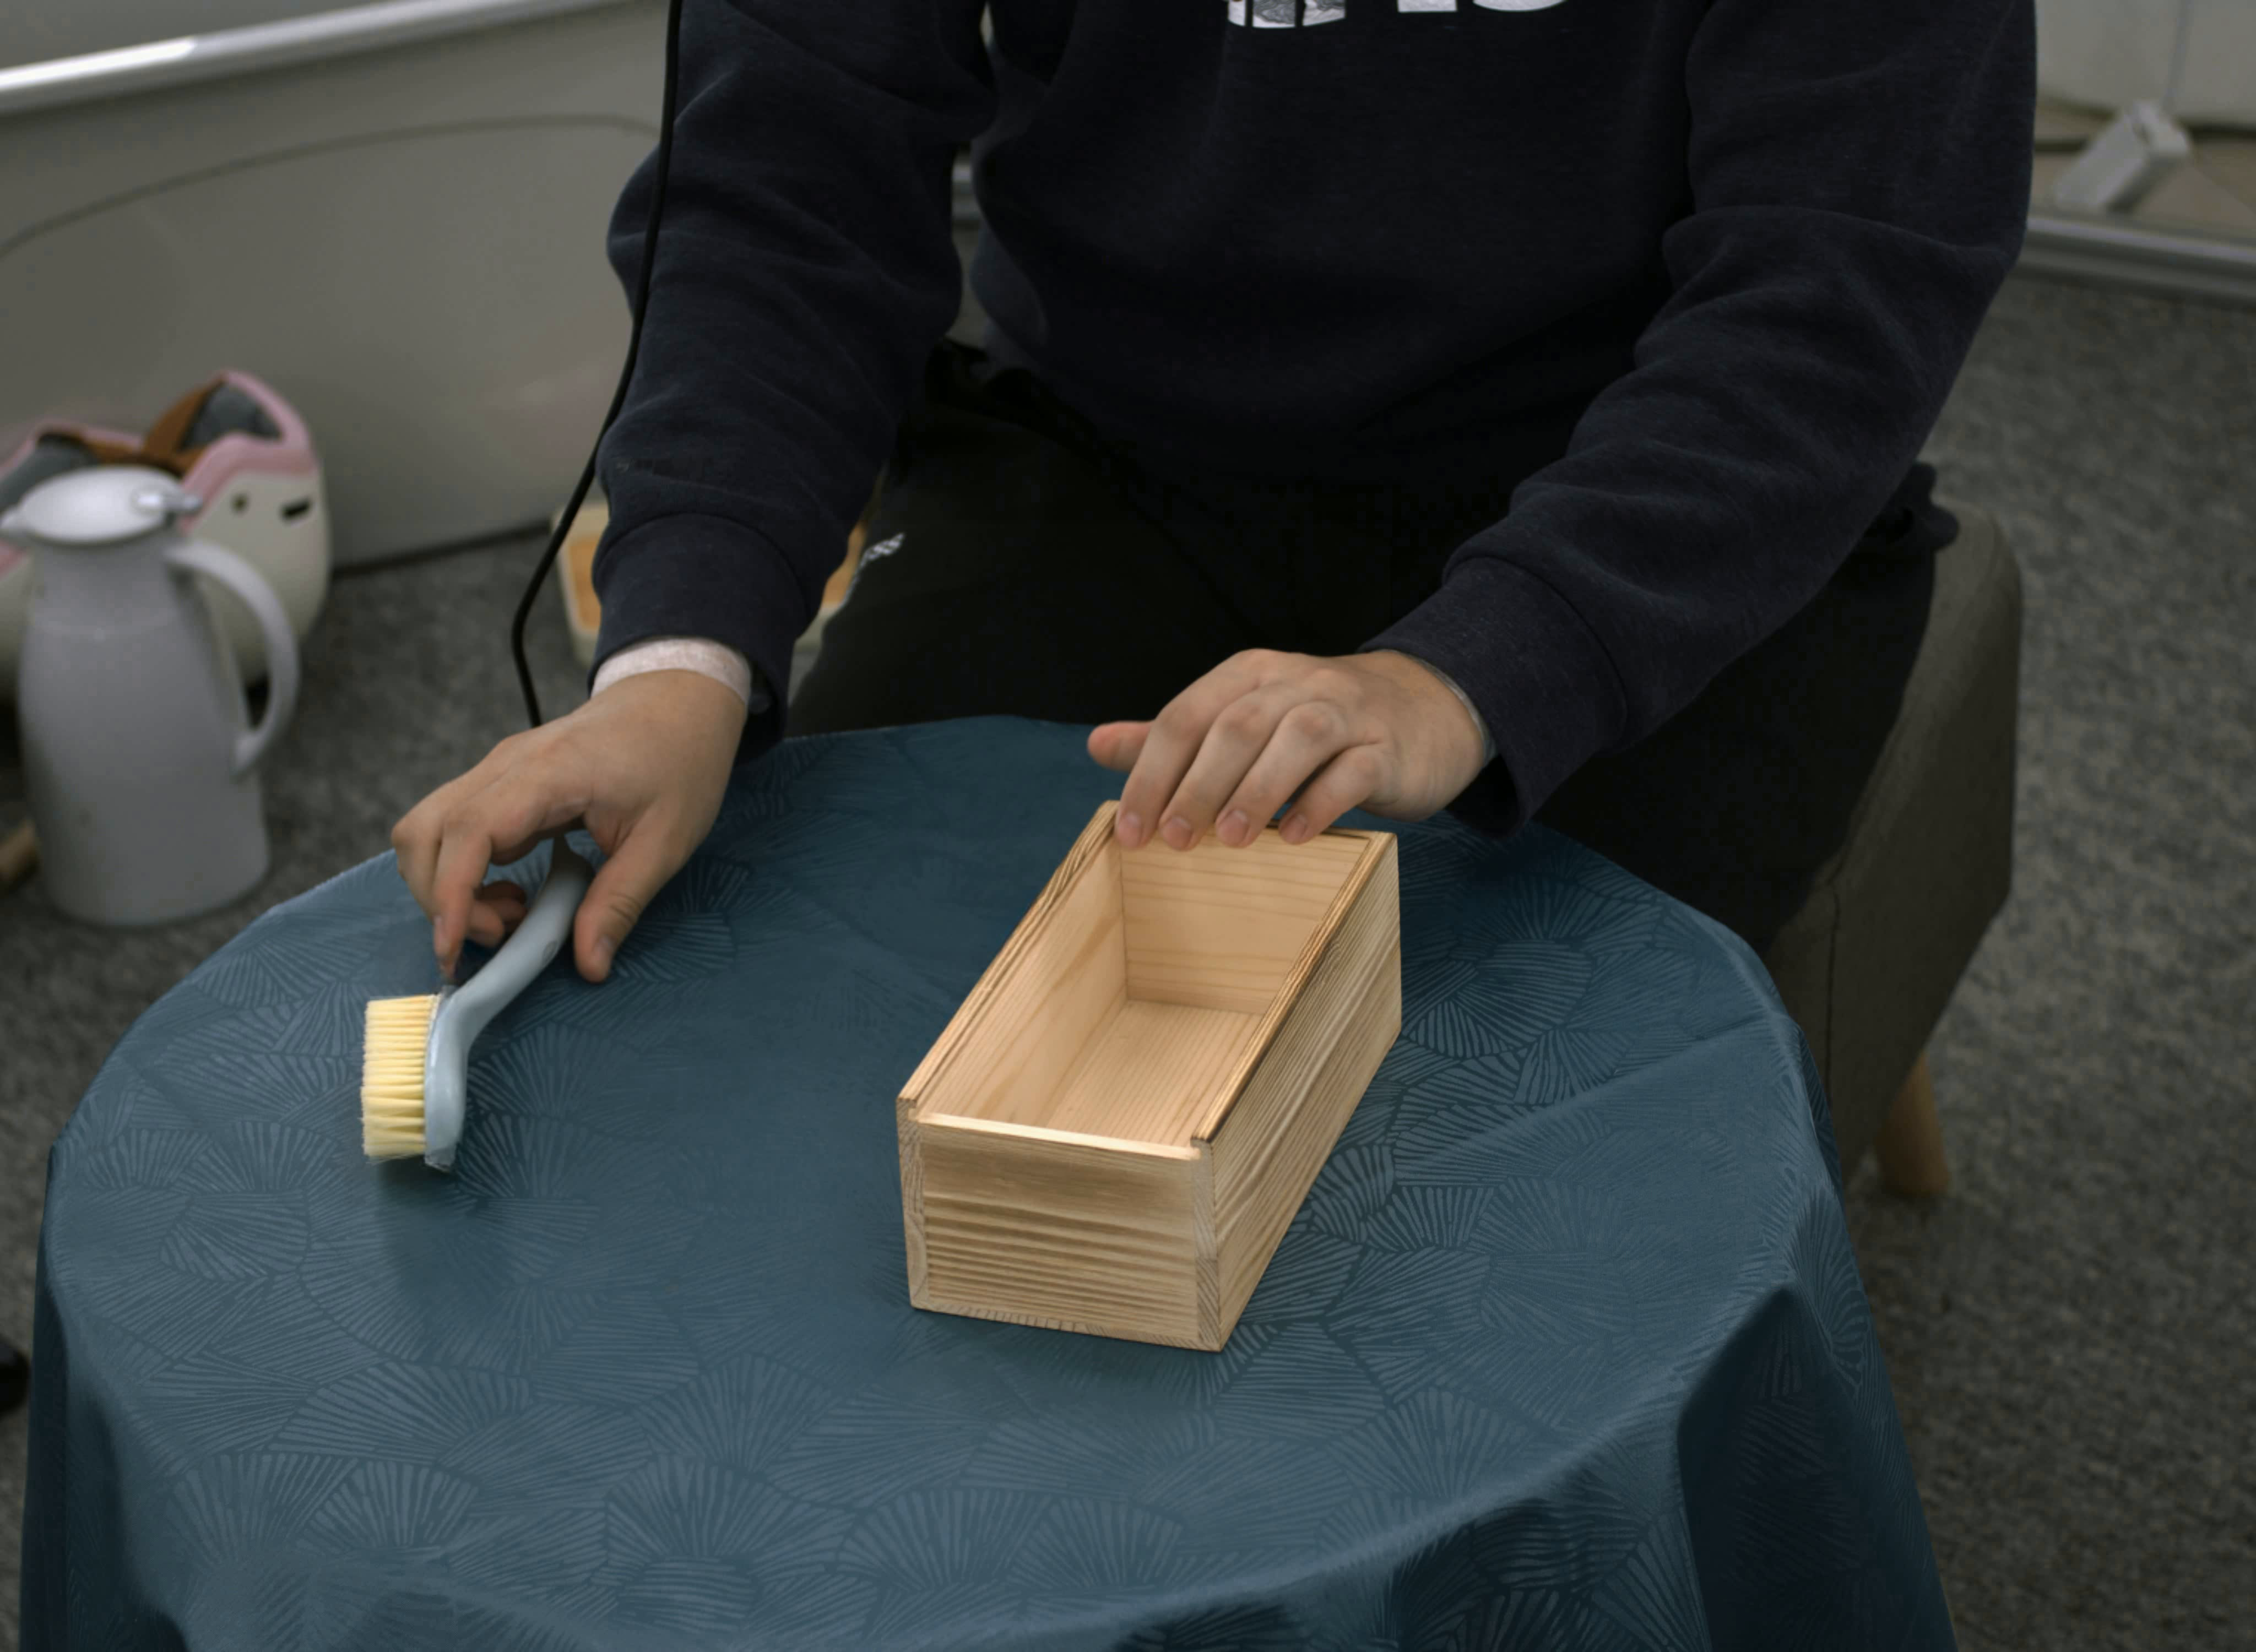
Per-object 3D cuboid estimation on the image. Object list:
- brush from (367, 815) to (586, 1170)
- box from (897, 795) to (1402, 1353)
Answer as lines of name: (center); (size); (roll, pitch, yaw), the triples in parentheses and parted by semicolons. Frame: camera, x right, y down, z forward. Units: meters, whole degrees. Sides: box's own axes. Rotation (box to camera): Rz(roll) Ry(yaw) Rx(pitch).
brush: (-0.231, 0.054, 1.976); (0.049, 0.037, 0.232); (0, 27, 8)
box: (0.011, 0.078, 1.861); (0.107, 0.079, 0.215); (6, 29, 17)
